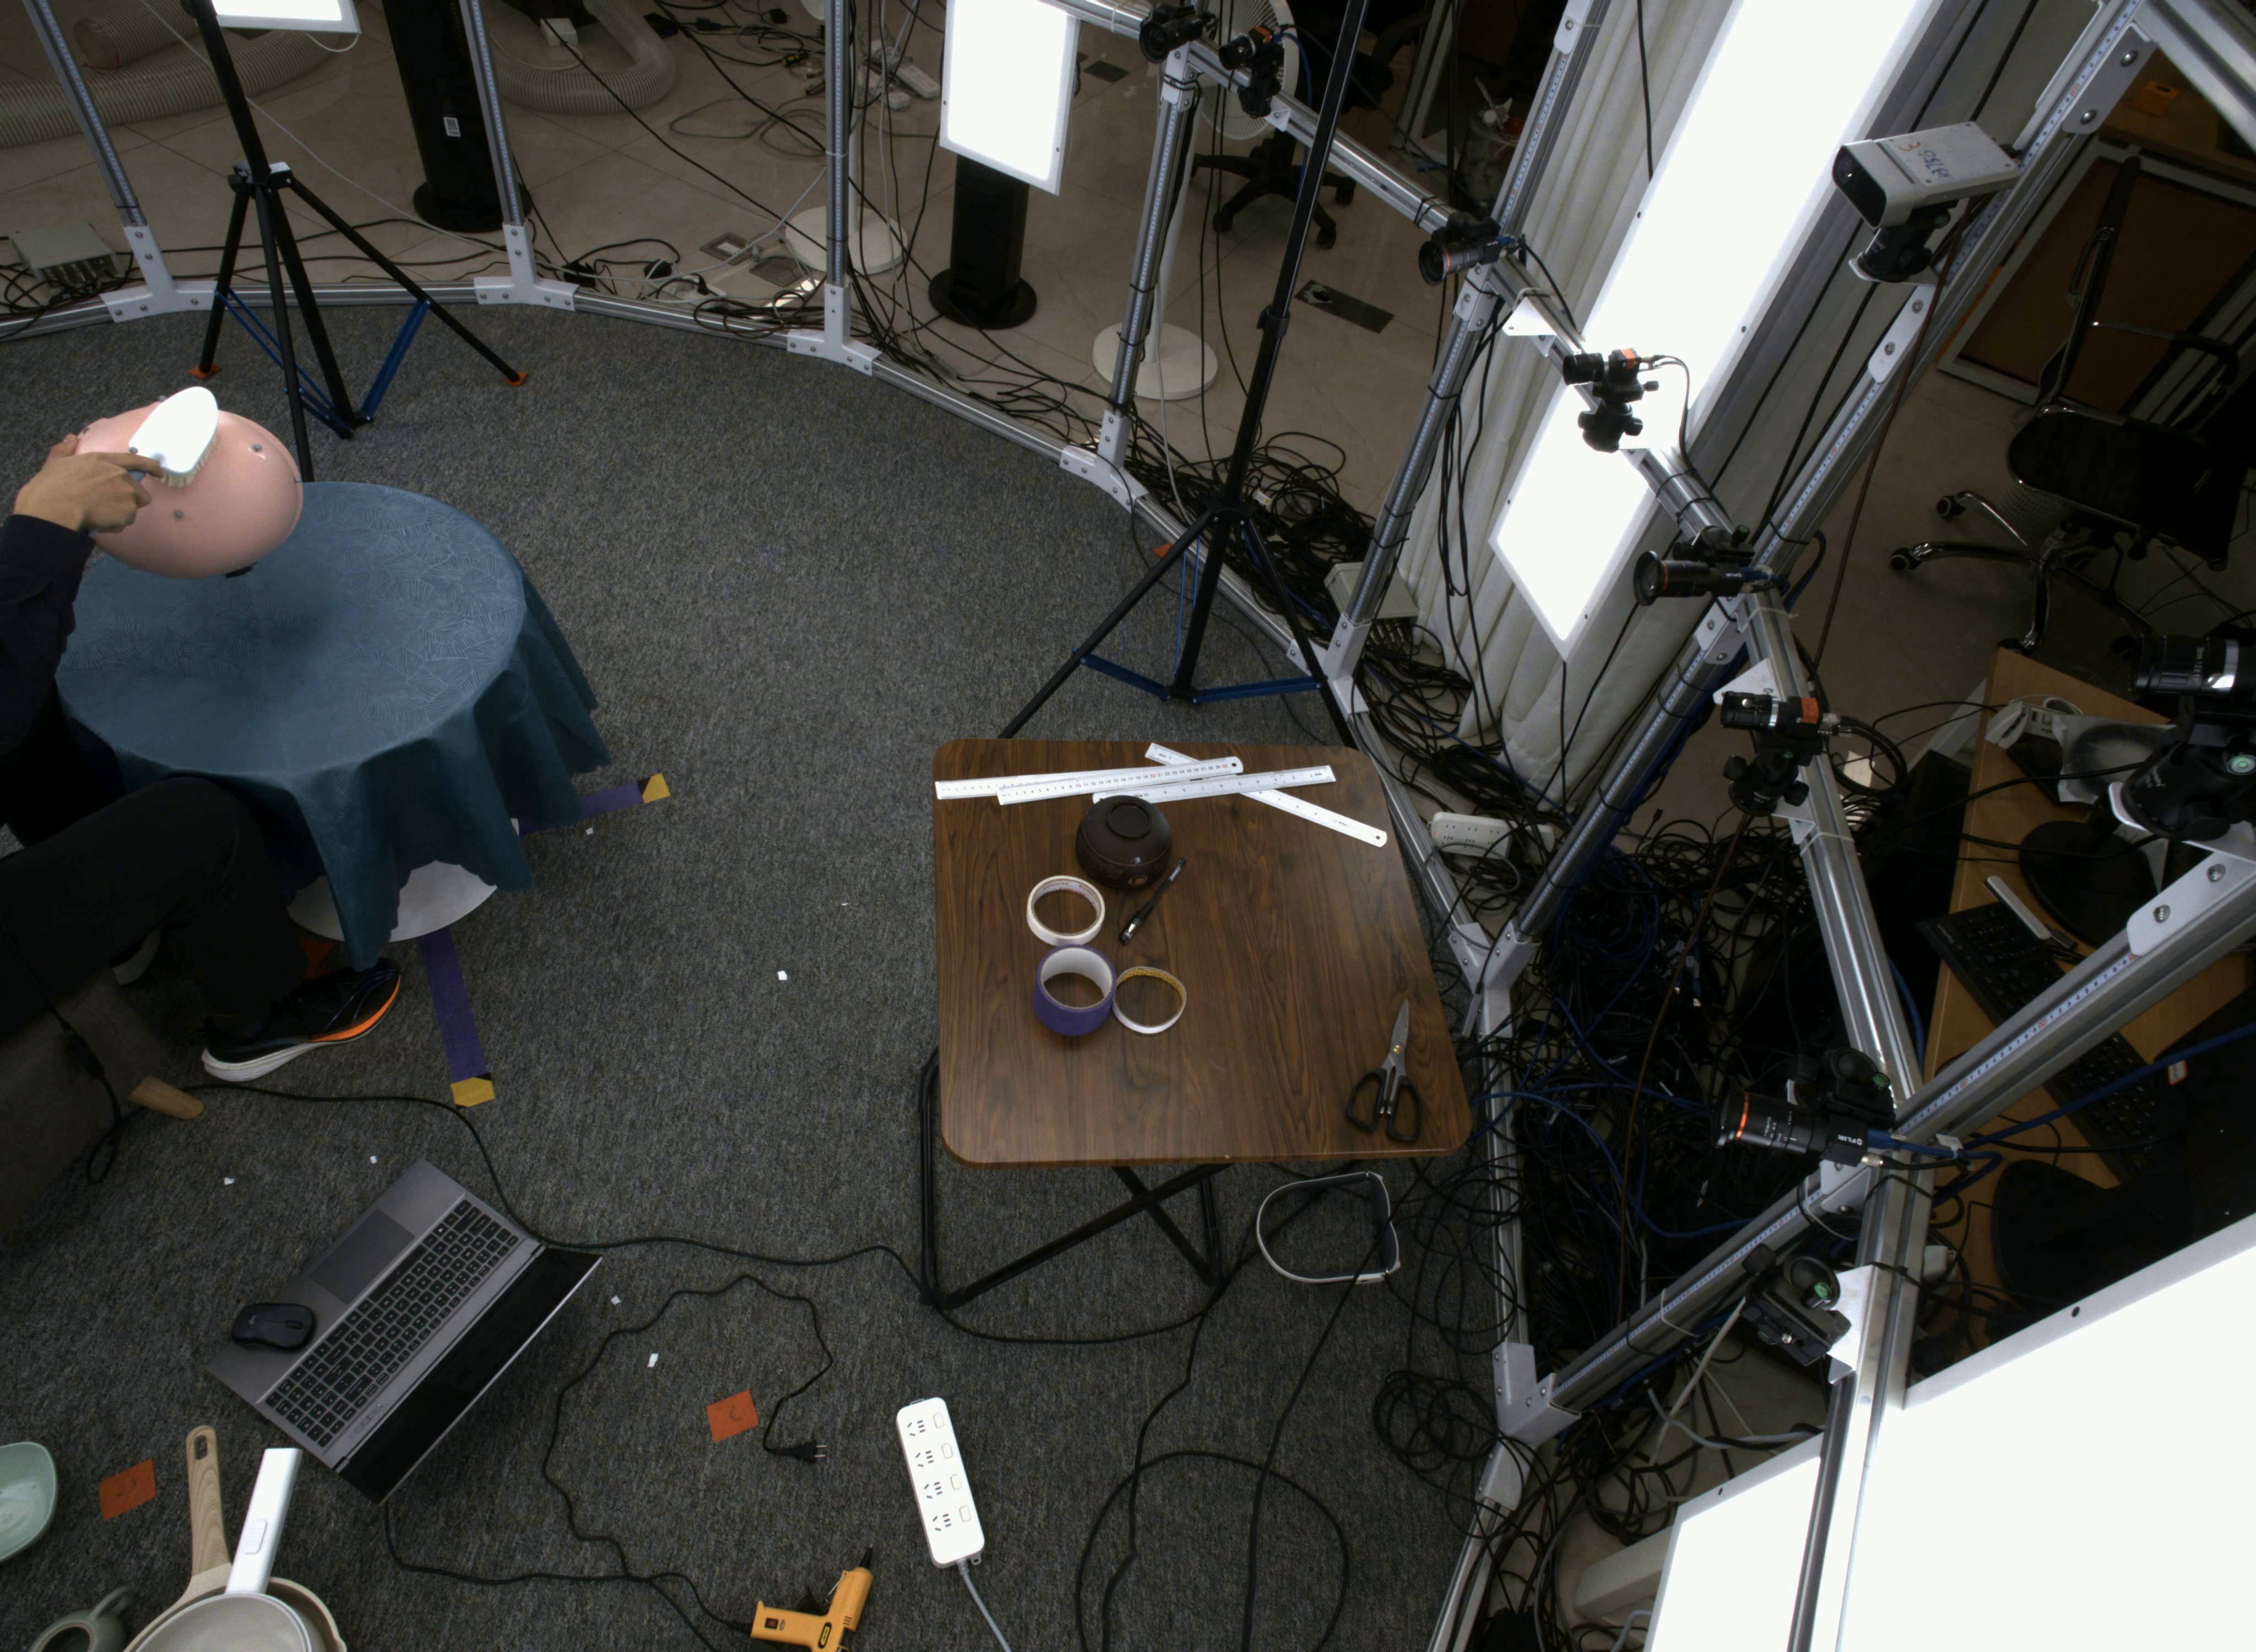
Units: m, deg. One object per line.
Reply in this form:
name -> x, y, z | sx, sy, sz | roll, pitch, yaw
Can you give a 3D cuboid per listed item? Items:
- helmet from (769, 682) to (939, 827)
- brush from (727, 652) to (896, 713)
helmet -> -0.426, -0.124, 2.008 | 0.266, 0.236, 0.157 | 10, -4, -10
brush -> -0.458, -0.196, 1.855 | 0.080, 0.086, 0.328 | 5, 16, 31
